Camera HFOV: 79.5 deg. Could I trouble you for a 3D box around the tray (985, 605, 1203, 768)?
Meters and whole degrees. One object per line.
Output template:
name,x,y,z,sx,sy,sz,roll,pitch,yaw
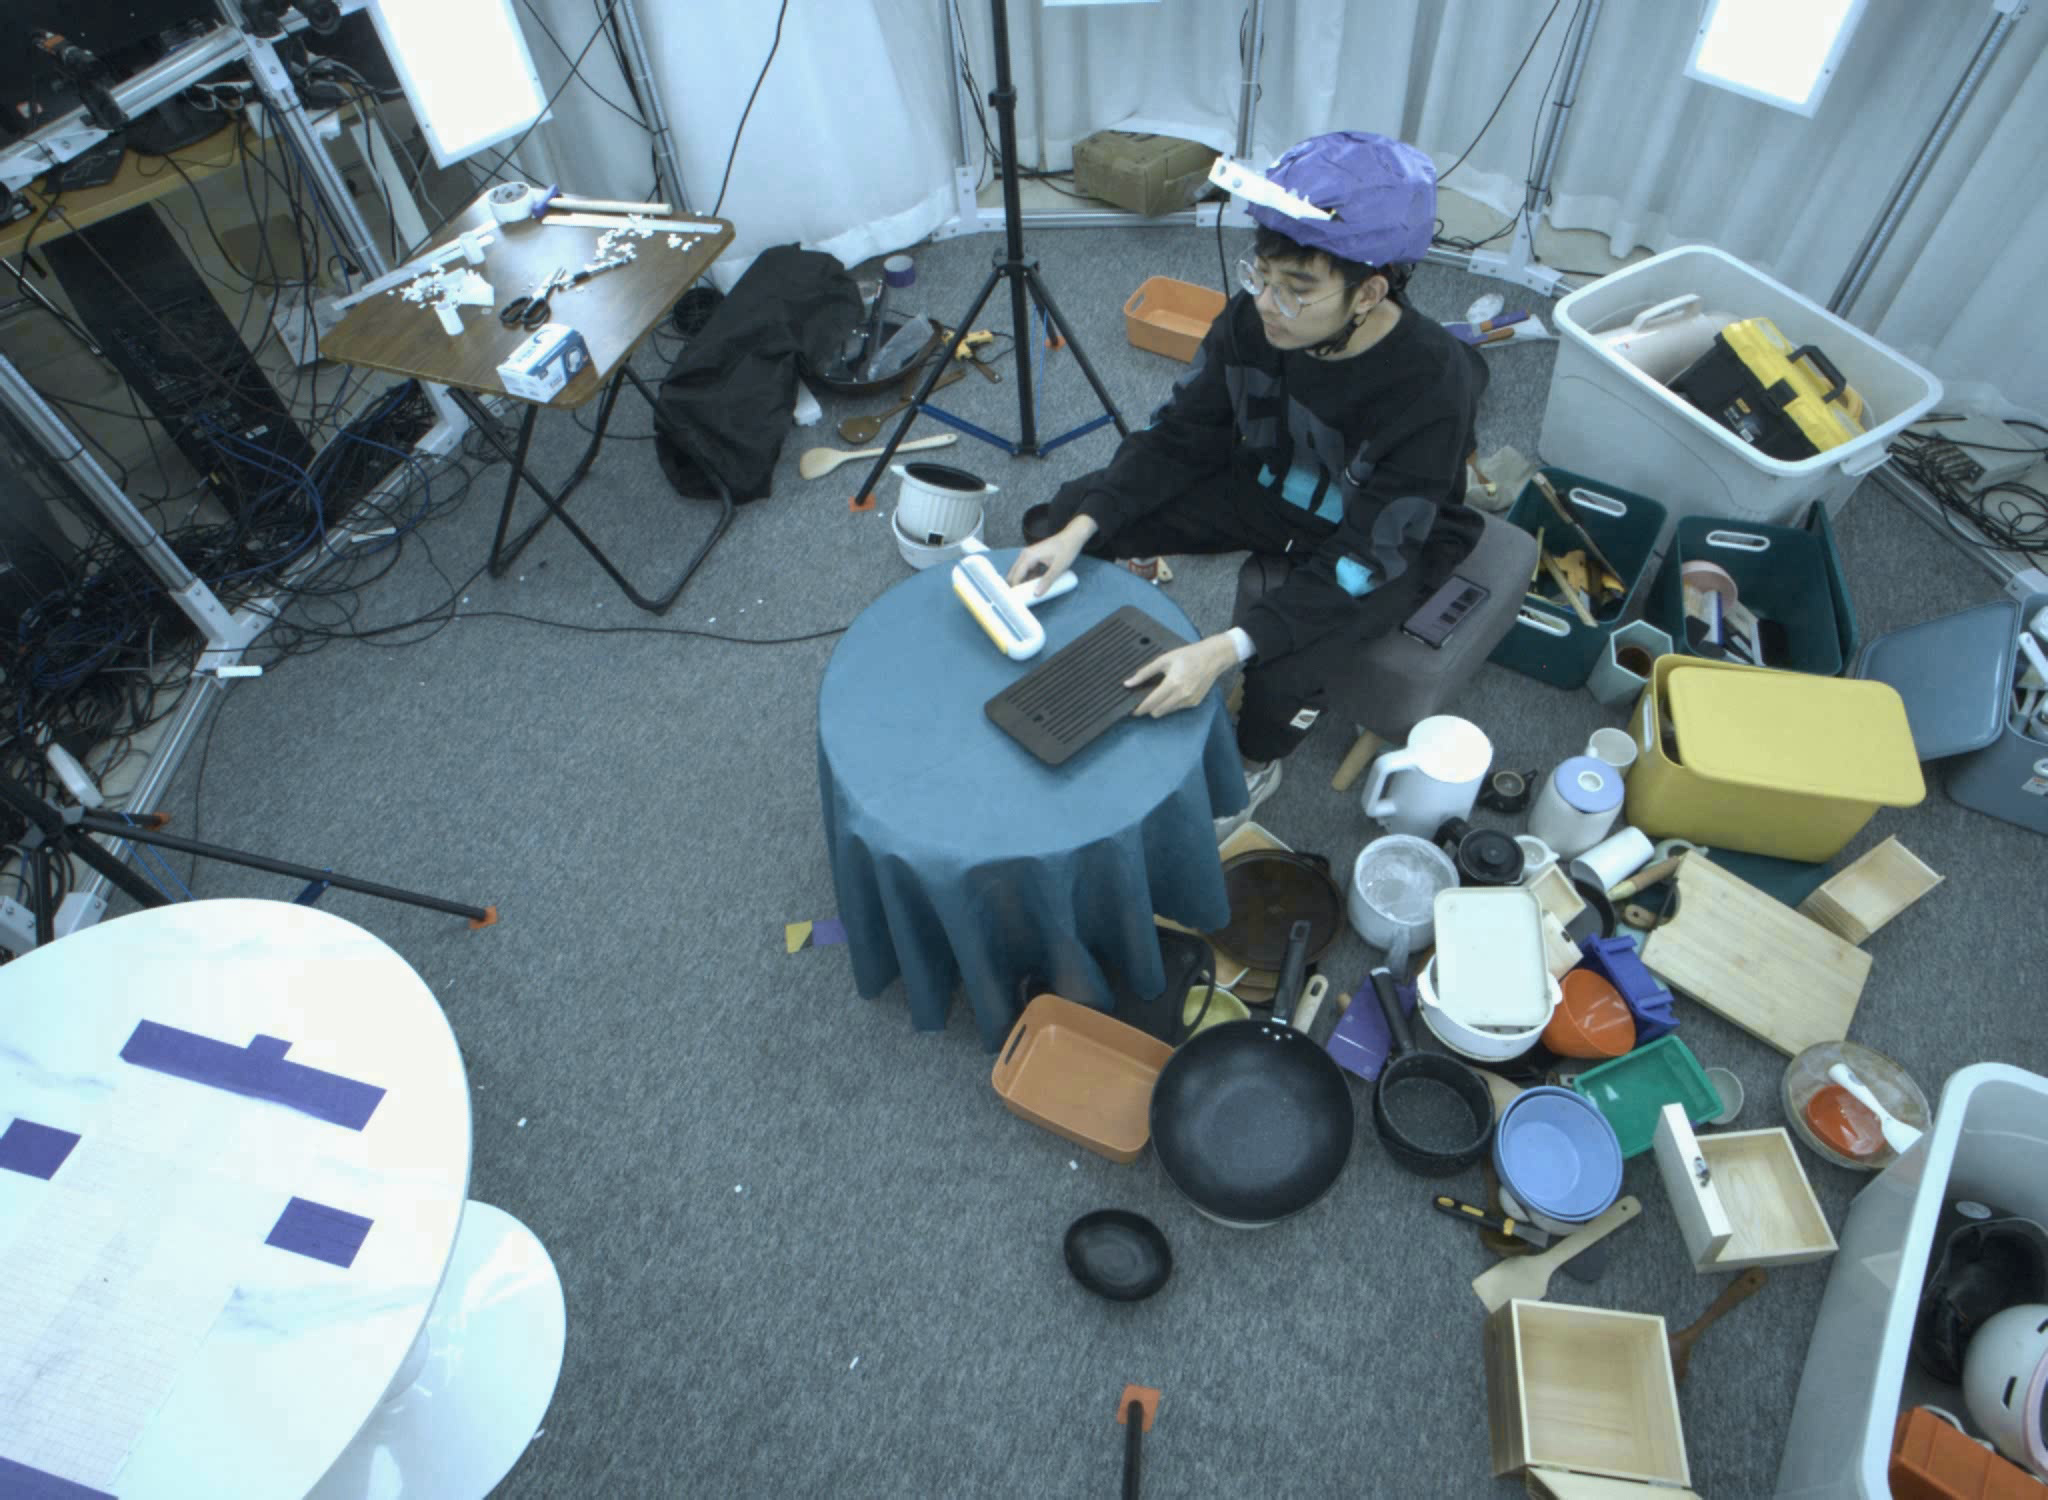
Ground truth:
tray,0.106,-0.098,1.828,0.308,0.019,0.166,-36,55,-21

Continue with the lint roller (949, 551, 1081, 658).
lint roller,0.004,-0.246,1.915,0.194,0.074,0.190,-28,66,-18
